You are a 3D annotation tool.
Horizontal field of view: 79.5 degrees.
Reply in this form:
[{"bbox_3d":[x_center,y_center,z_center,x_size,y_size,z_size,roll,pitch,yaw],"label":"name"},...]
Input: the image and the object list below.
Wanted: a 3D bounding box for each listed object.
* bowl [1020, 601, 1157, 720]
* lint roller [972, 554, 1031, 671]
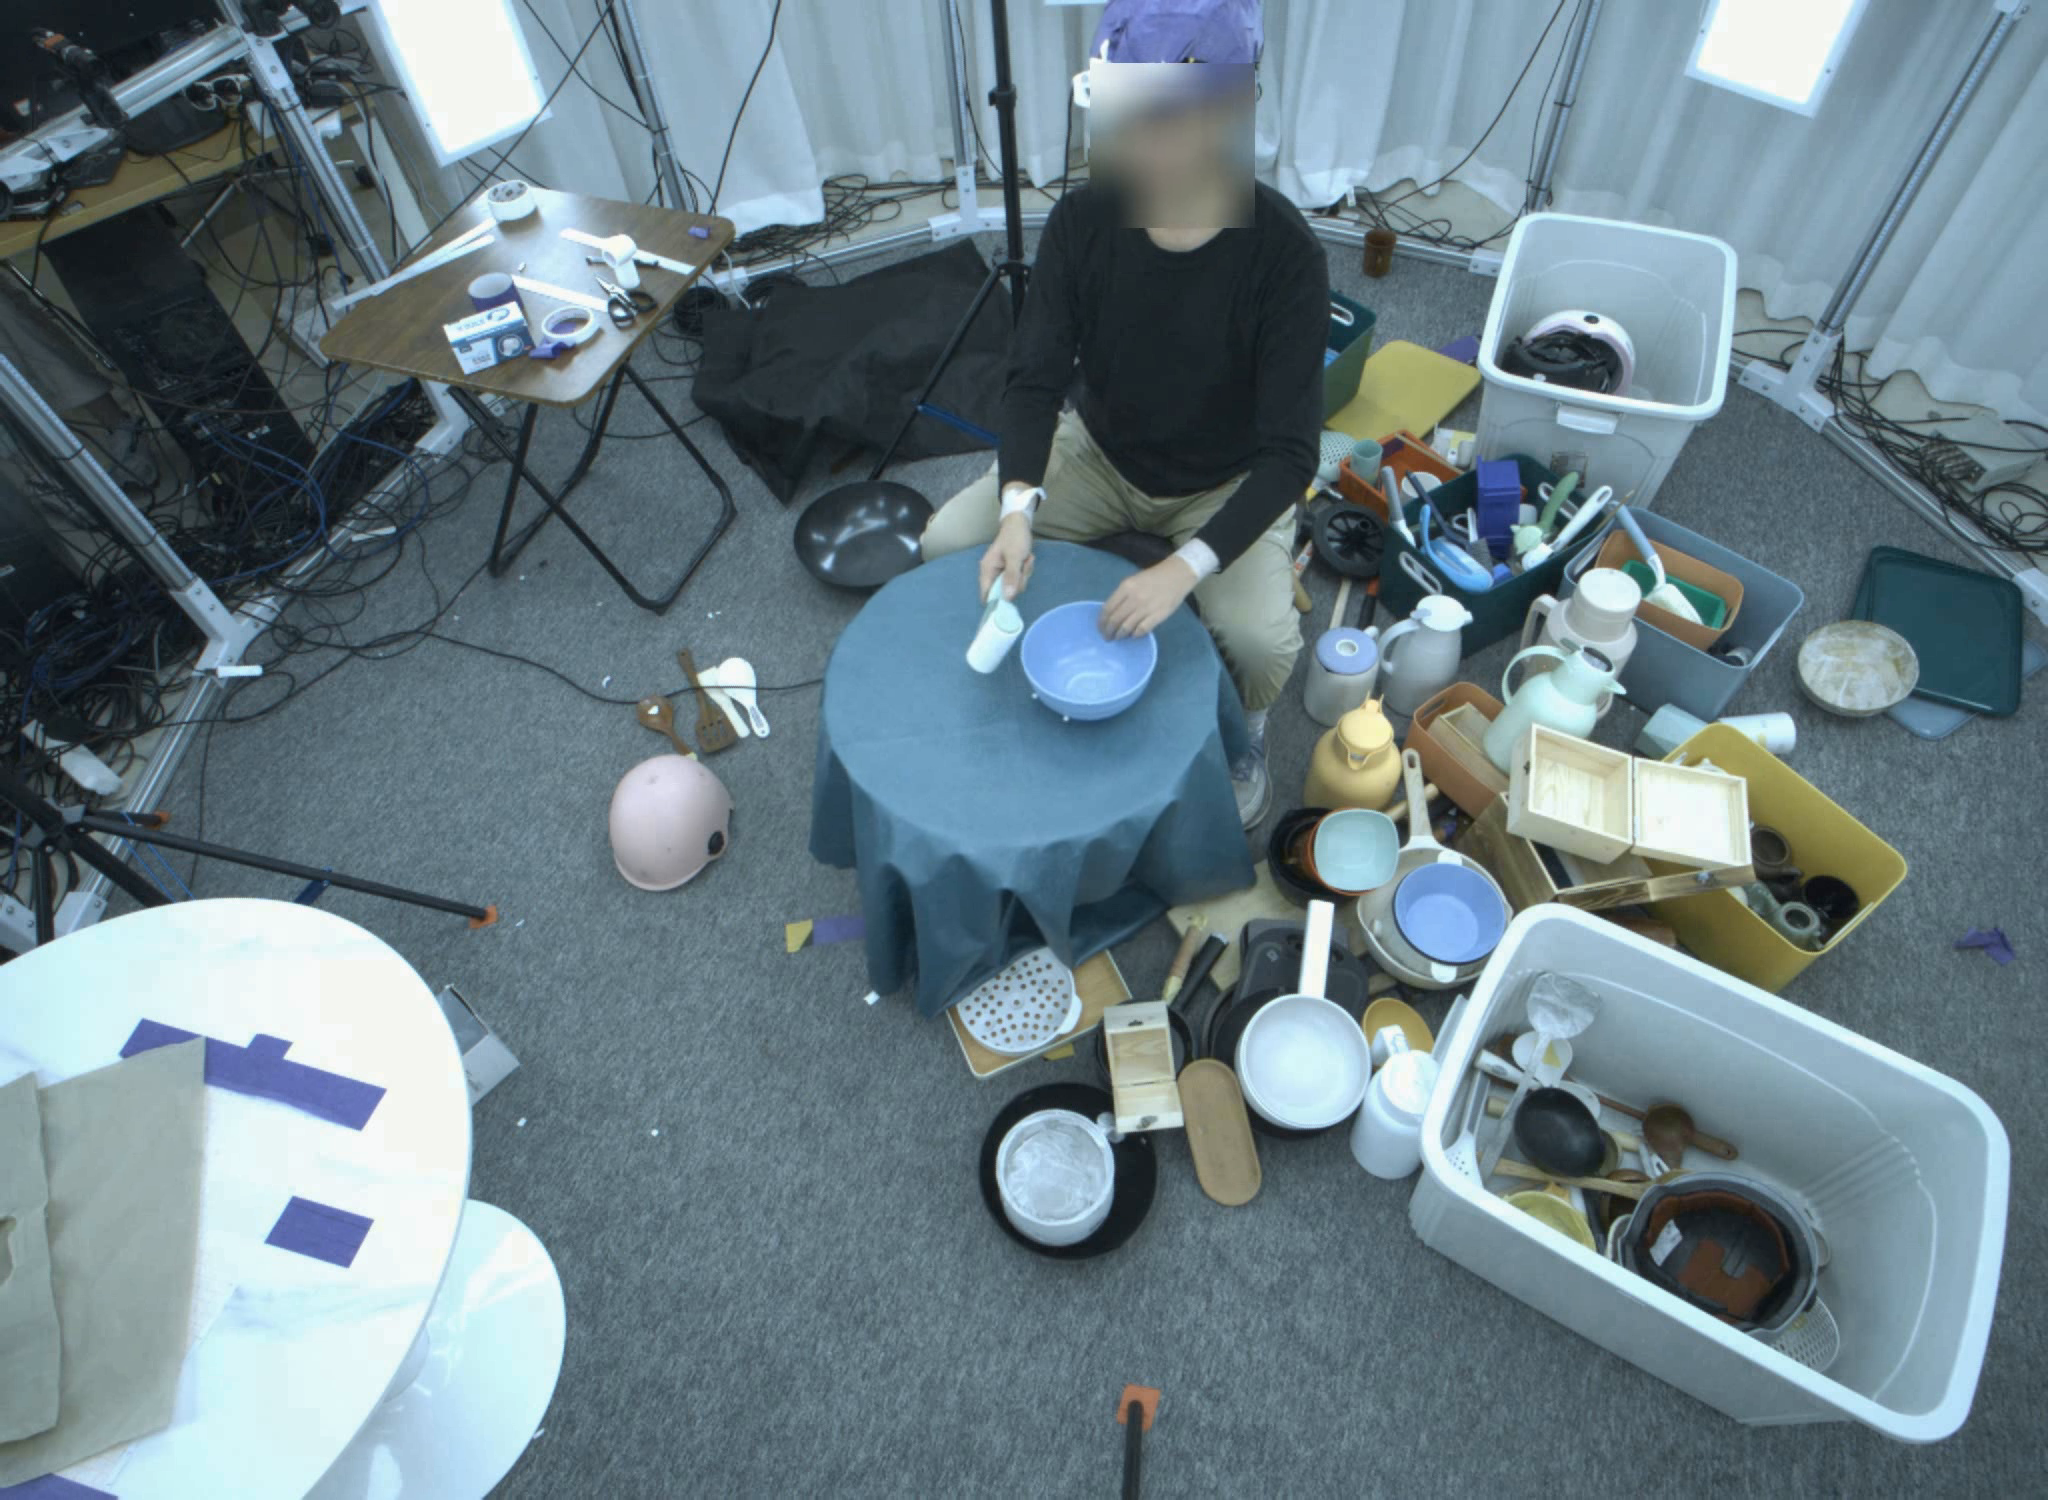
[{"bbox_3d":[0.096,-0.116,1.806,0.196,0.096,0.194,-1,54,3],"label":"bowl"},{"bbox_3d":[-0.027,-0.219,1.784,0.049,0.116,0.196,18,56,-12],"label":"lint roller"}]
